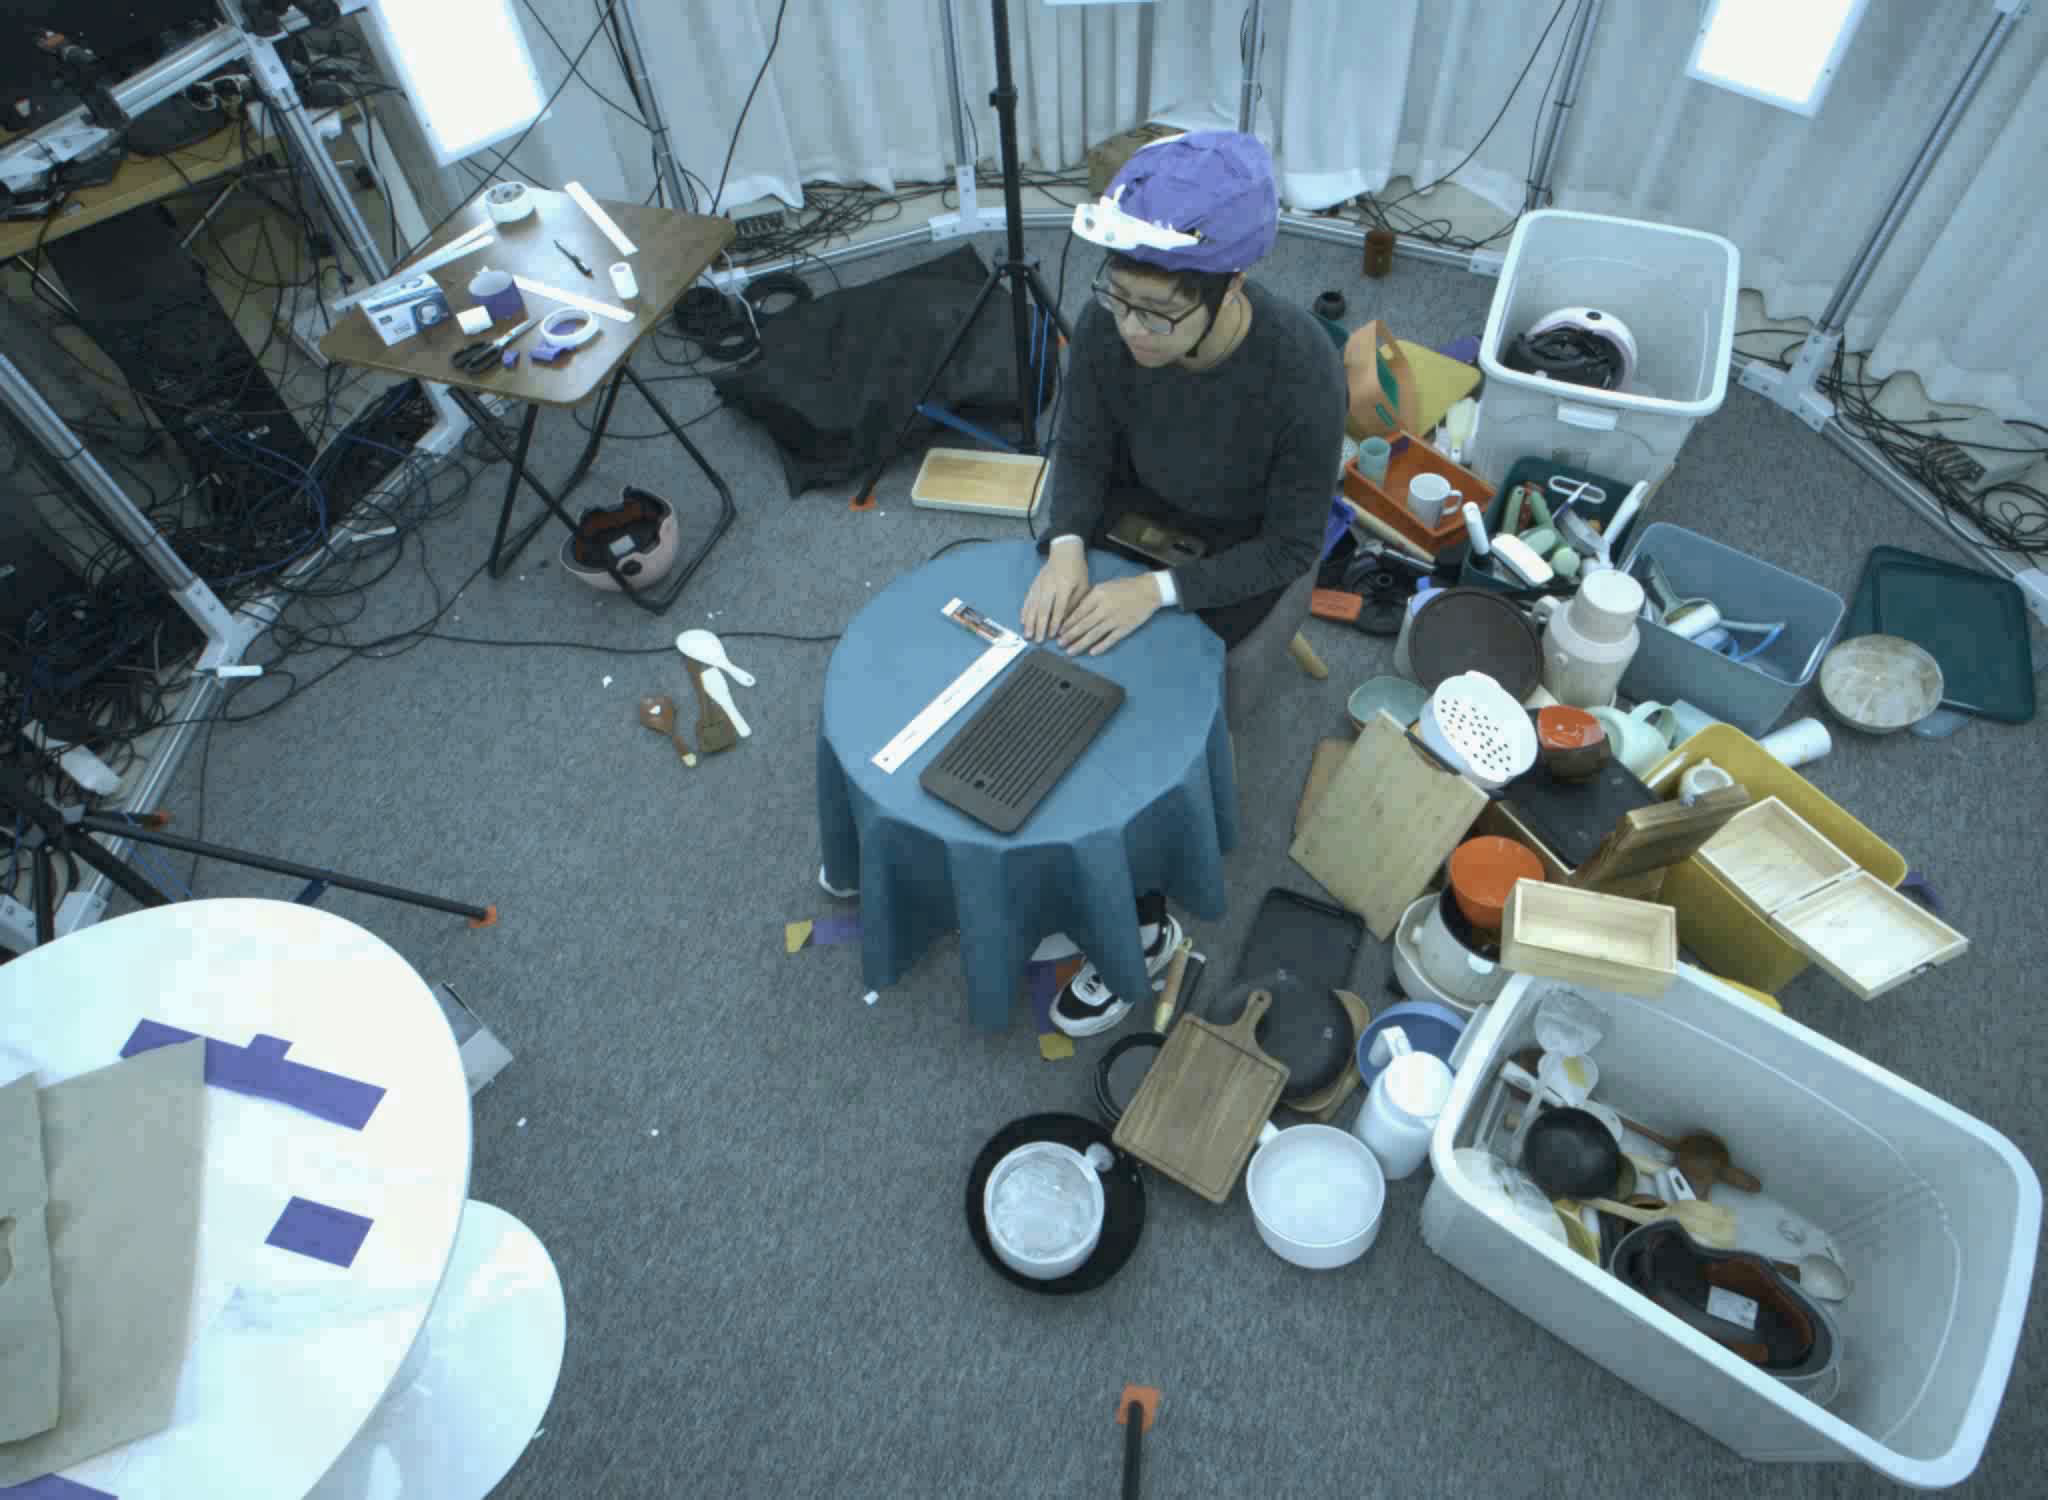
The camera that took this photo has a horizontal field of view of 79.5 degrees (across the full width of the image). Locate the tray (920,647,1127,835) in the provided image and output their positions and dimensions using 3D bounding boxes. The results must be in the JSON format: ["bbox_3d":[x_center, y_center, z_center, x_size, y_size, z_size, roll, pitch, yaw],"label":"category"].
[{"bbox_3d":[0.002,-0.018,1.789,0.167,0.019,0.307,29,60,21],"label":"tray"}]

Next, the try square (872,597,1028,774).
[{"bbox_3d":[-0.148,-0.104,1.861,0.150,0.016,0.314,34,63,22],"label":"try square"}]
